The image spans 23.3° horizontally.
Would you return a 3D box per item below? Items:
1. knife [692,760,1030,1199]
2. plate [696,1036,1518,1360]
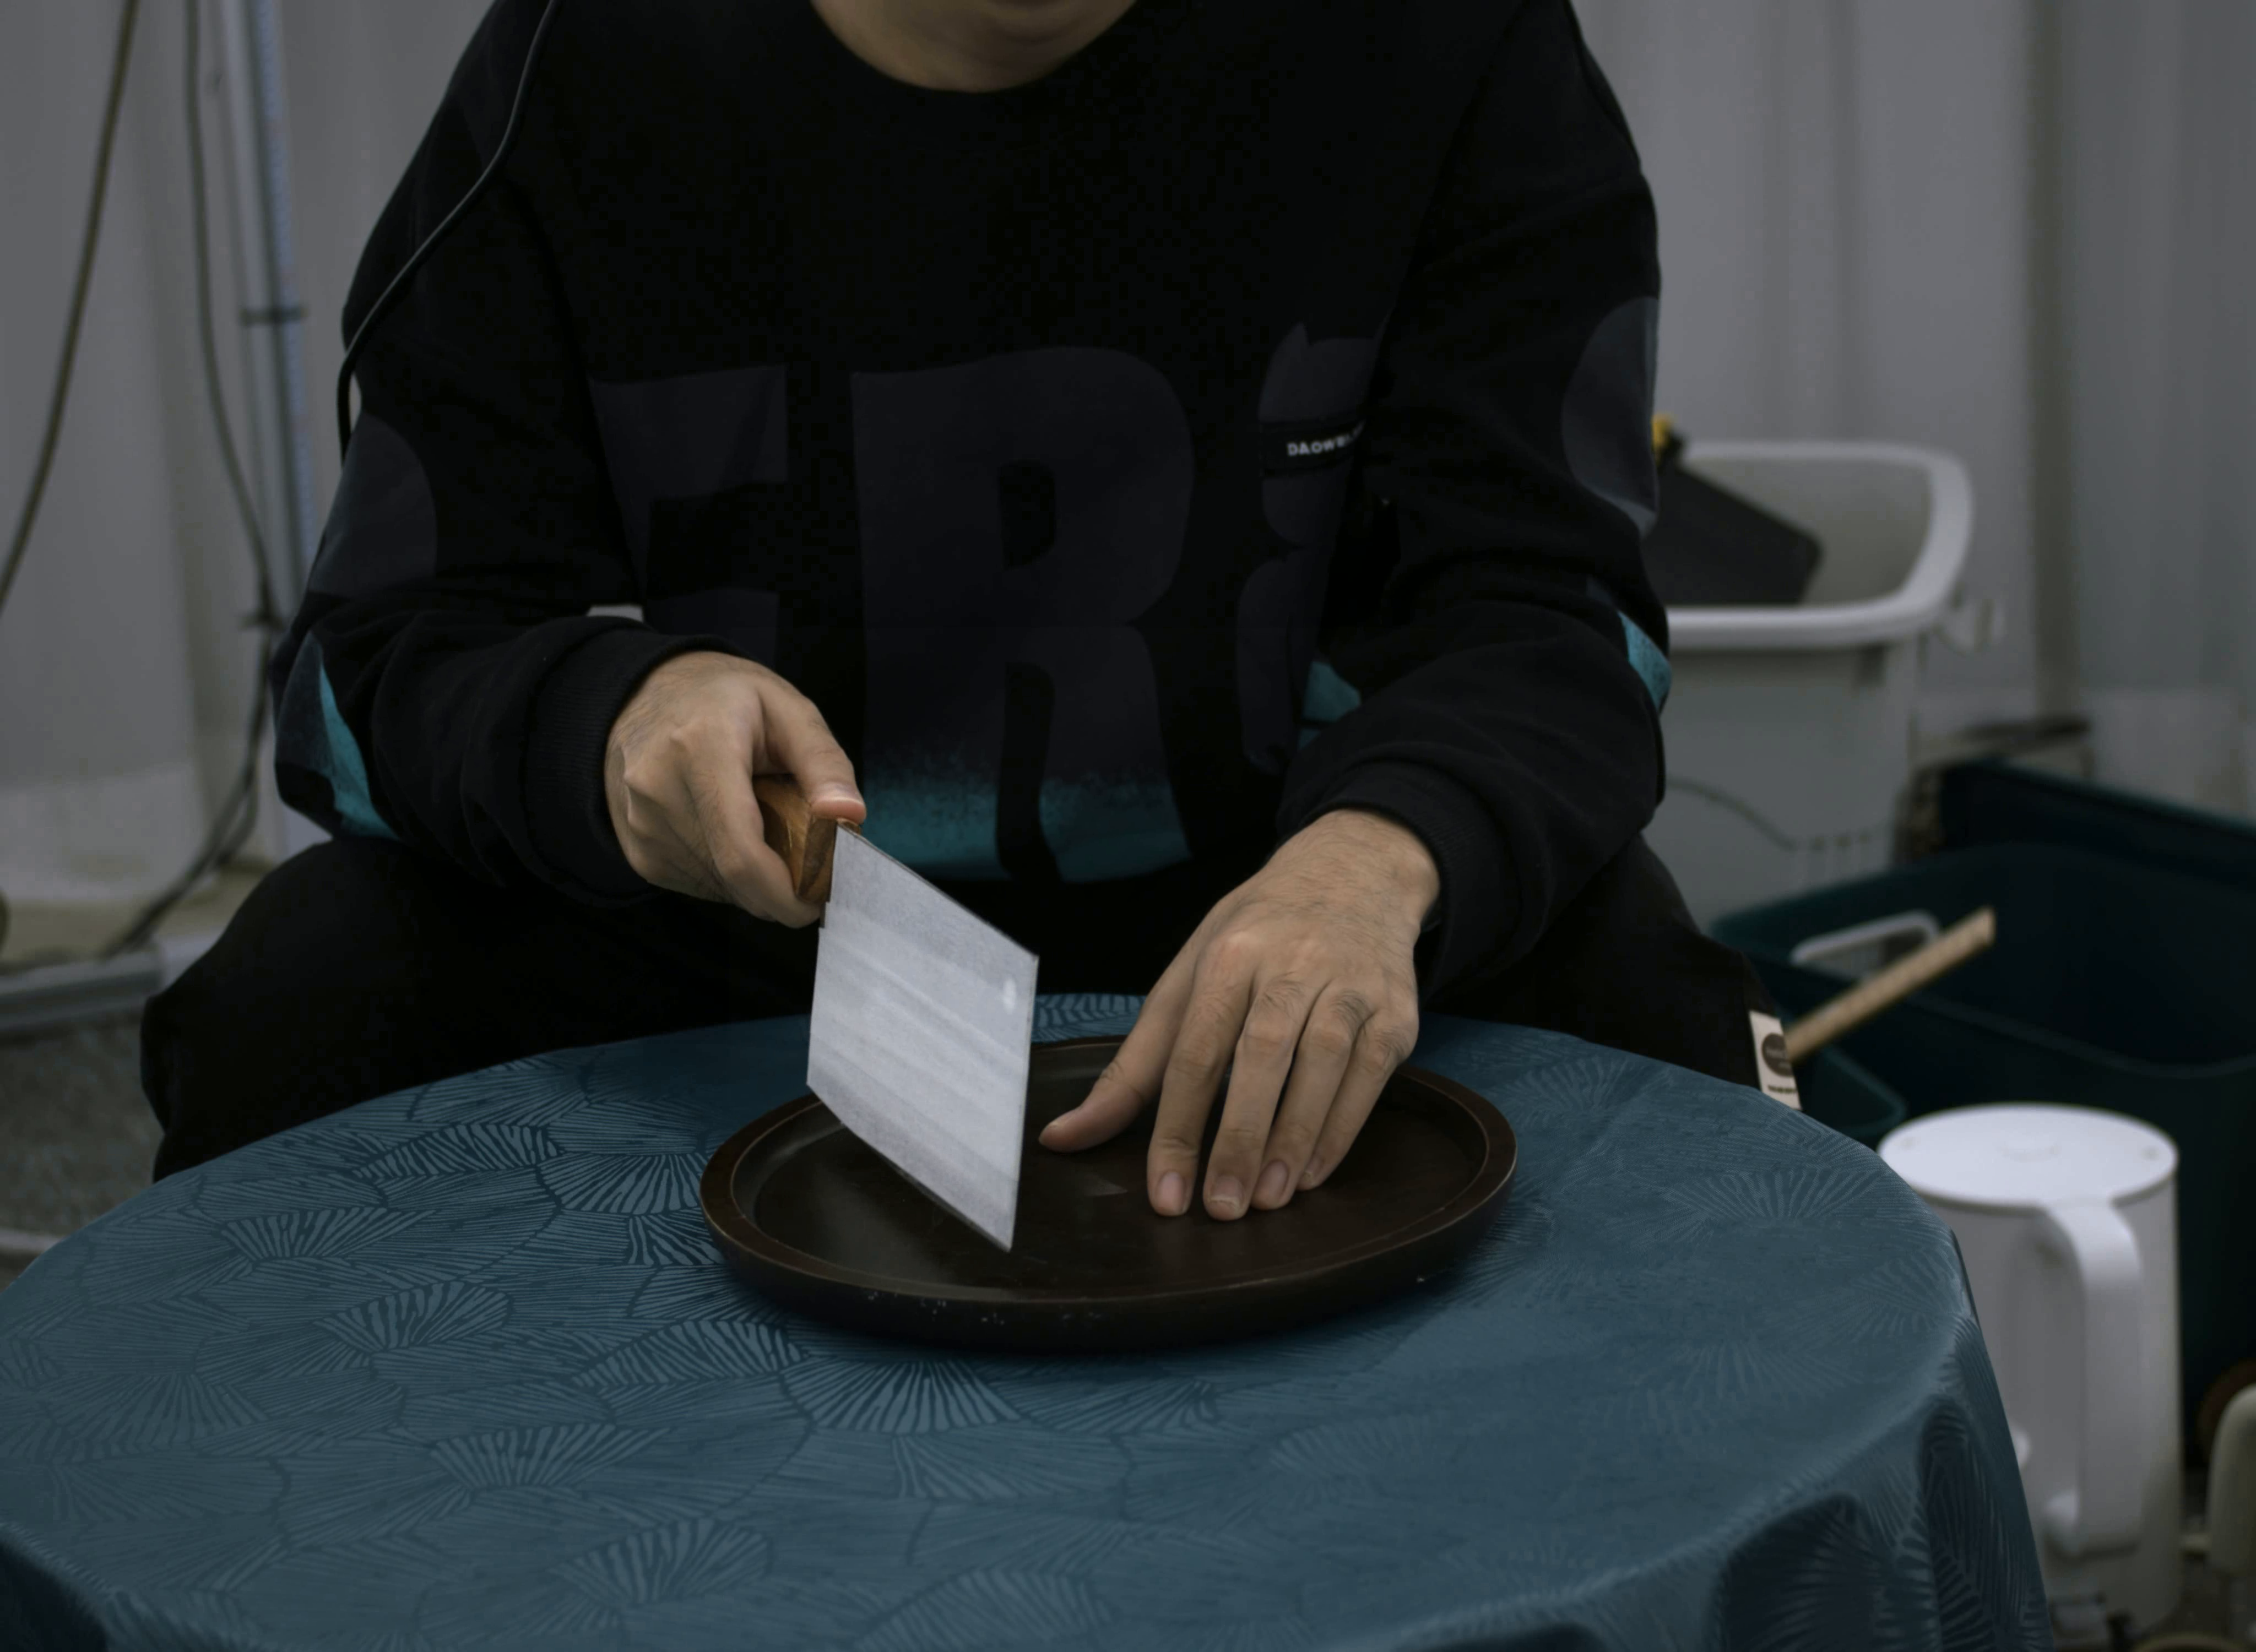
[{"bbox_3d":[-0.086,0.047,1.713,0.021,0.093,0.308,1,12,-22],"label":"knife"},{"bbox_3d":[-0.006,0.111,1.680,0.254,0.029,0.256,-4,16,1],"label":"plate"}]
